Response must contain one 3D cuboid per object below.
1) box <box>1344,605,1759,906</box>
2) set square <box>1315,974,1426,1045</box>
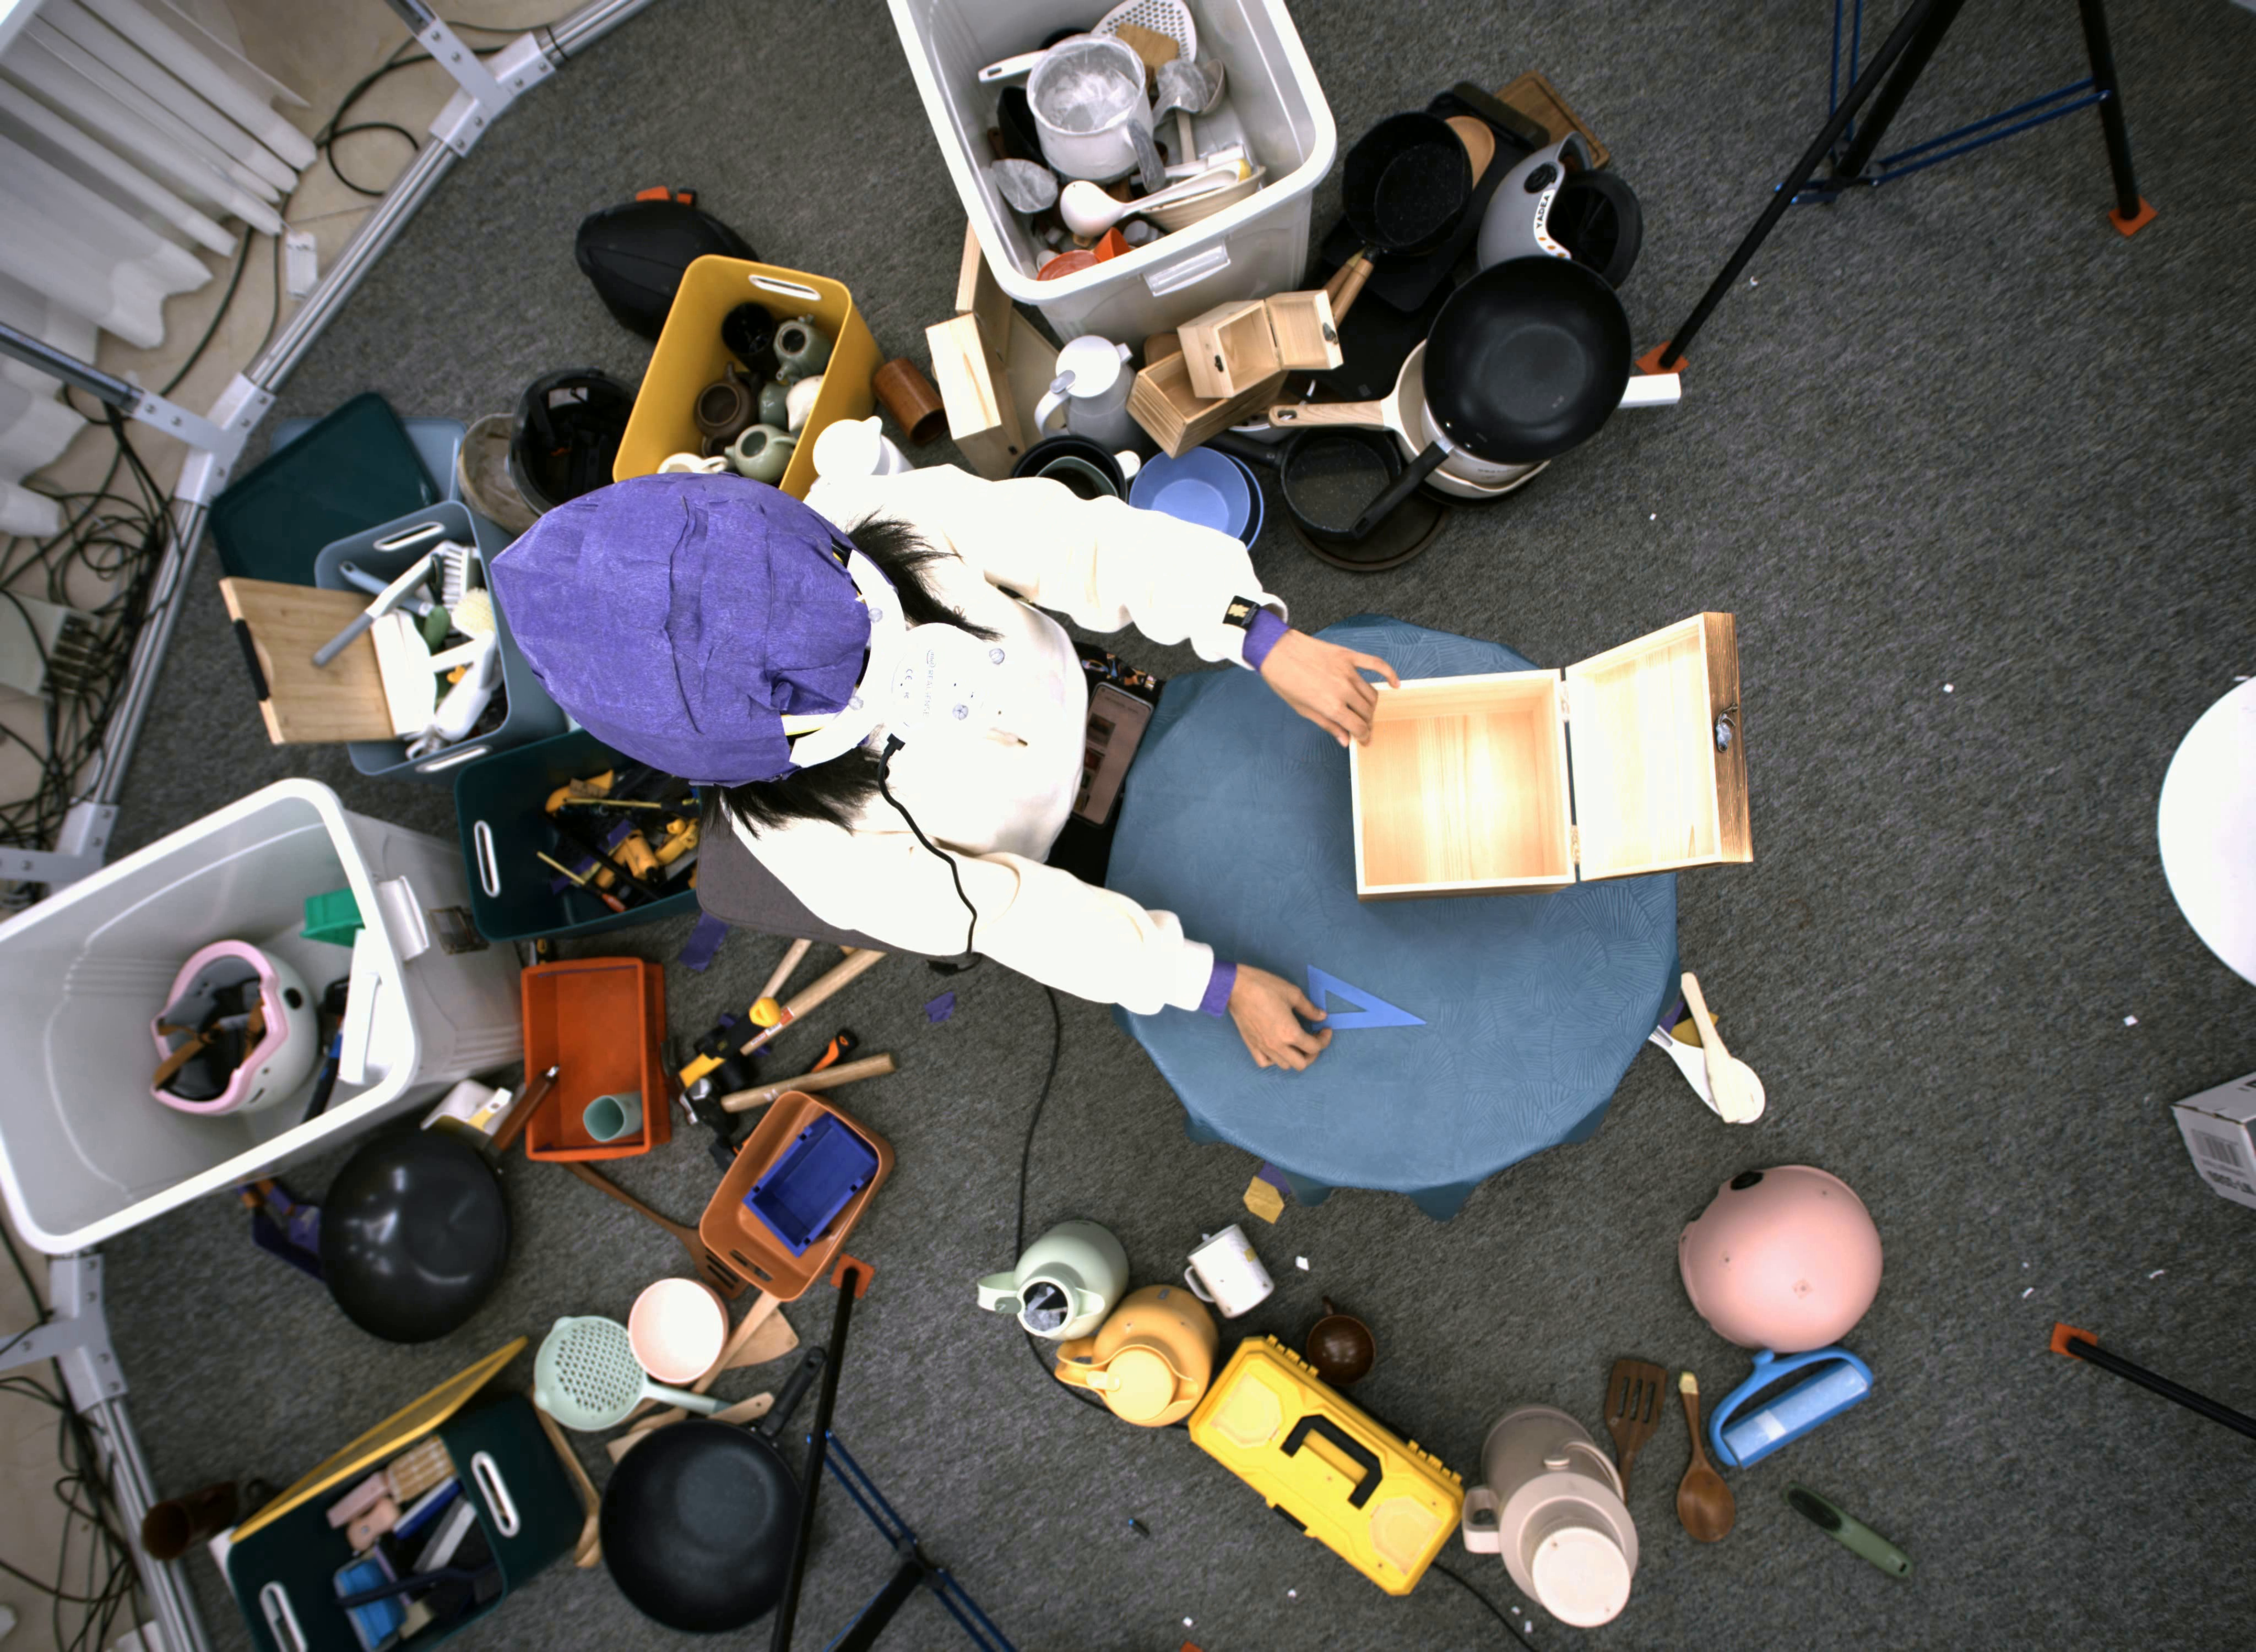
[{"bbox_3d":[0.361,-0.050,1.270,0.323,0.376,0.207,-3,83,8],"label":"box"},{"bbox_3d":[0.244,0.210,1.455,0.132,0.006,0.061,30,89,11],"label":"set square"}]
